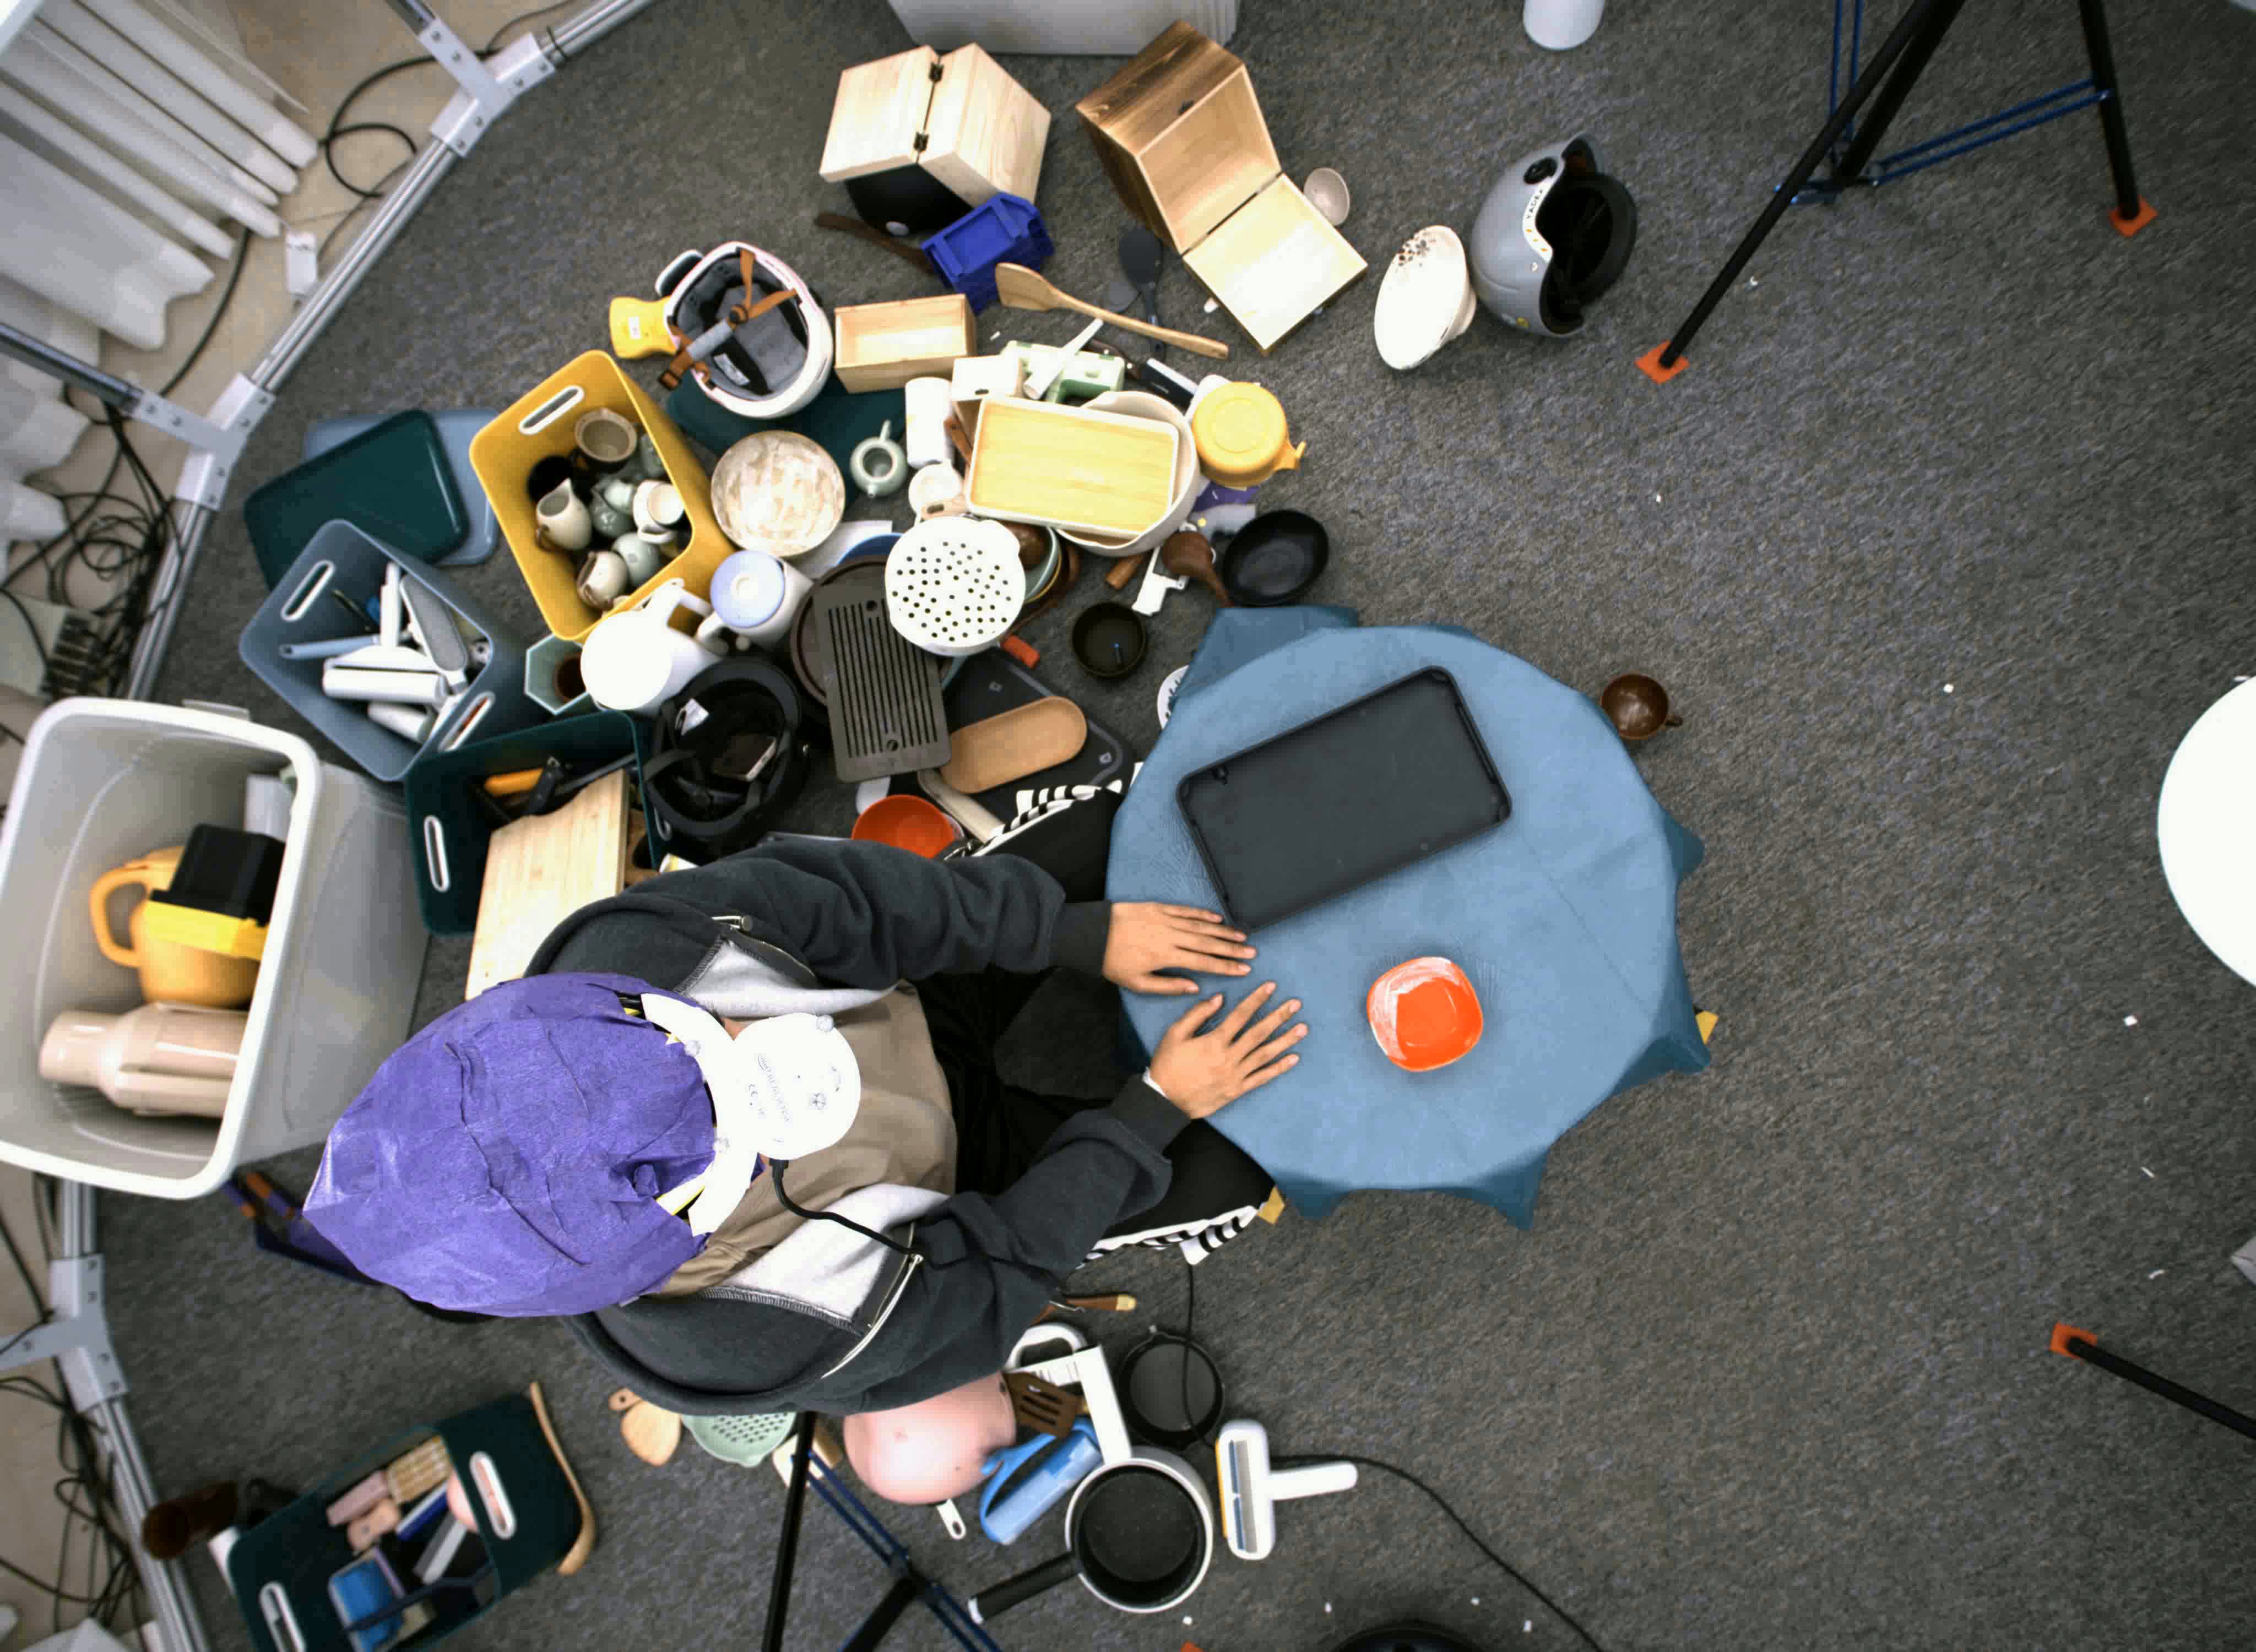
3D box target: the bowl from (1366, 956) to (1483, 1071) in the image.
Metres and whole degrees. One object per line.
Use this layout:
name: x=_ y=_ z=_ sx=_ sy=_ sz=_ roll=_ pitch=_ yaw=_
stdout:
bowl: x=0.303 y=0.190 z=1.419 sx=0.119 sy=0.051 sz=0.118 roll=-1 pitch=86 yaw=8

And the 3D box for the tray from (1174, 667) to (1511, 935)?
tray: x=0.223 y=-0.026 z=1.453 sx=0.319 sy=0.037 sz=0.183 roll=-24 pitch=83 yaw=7
